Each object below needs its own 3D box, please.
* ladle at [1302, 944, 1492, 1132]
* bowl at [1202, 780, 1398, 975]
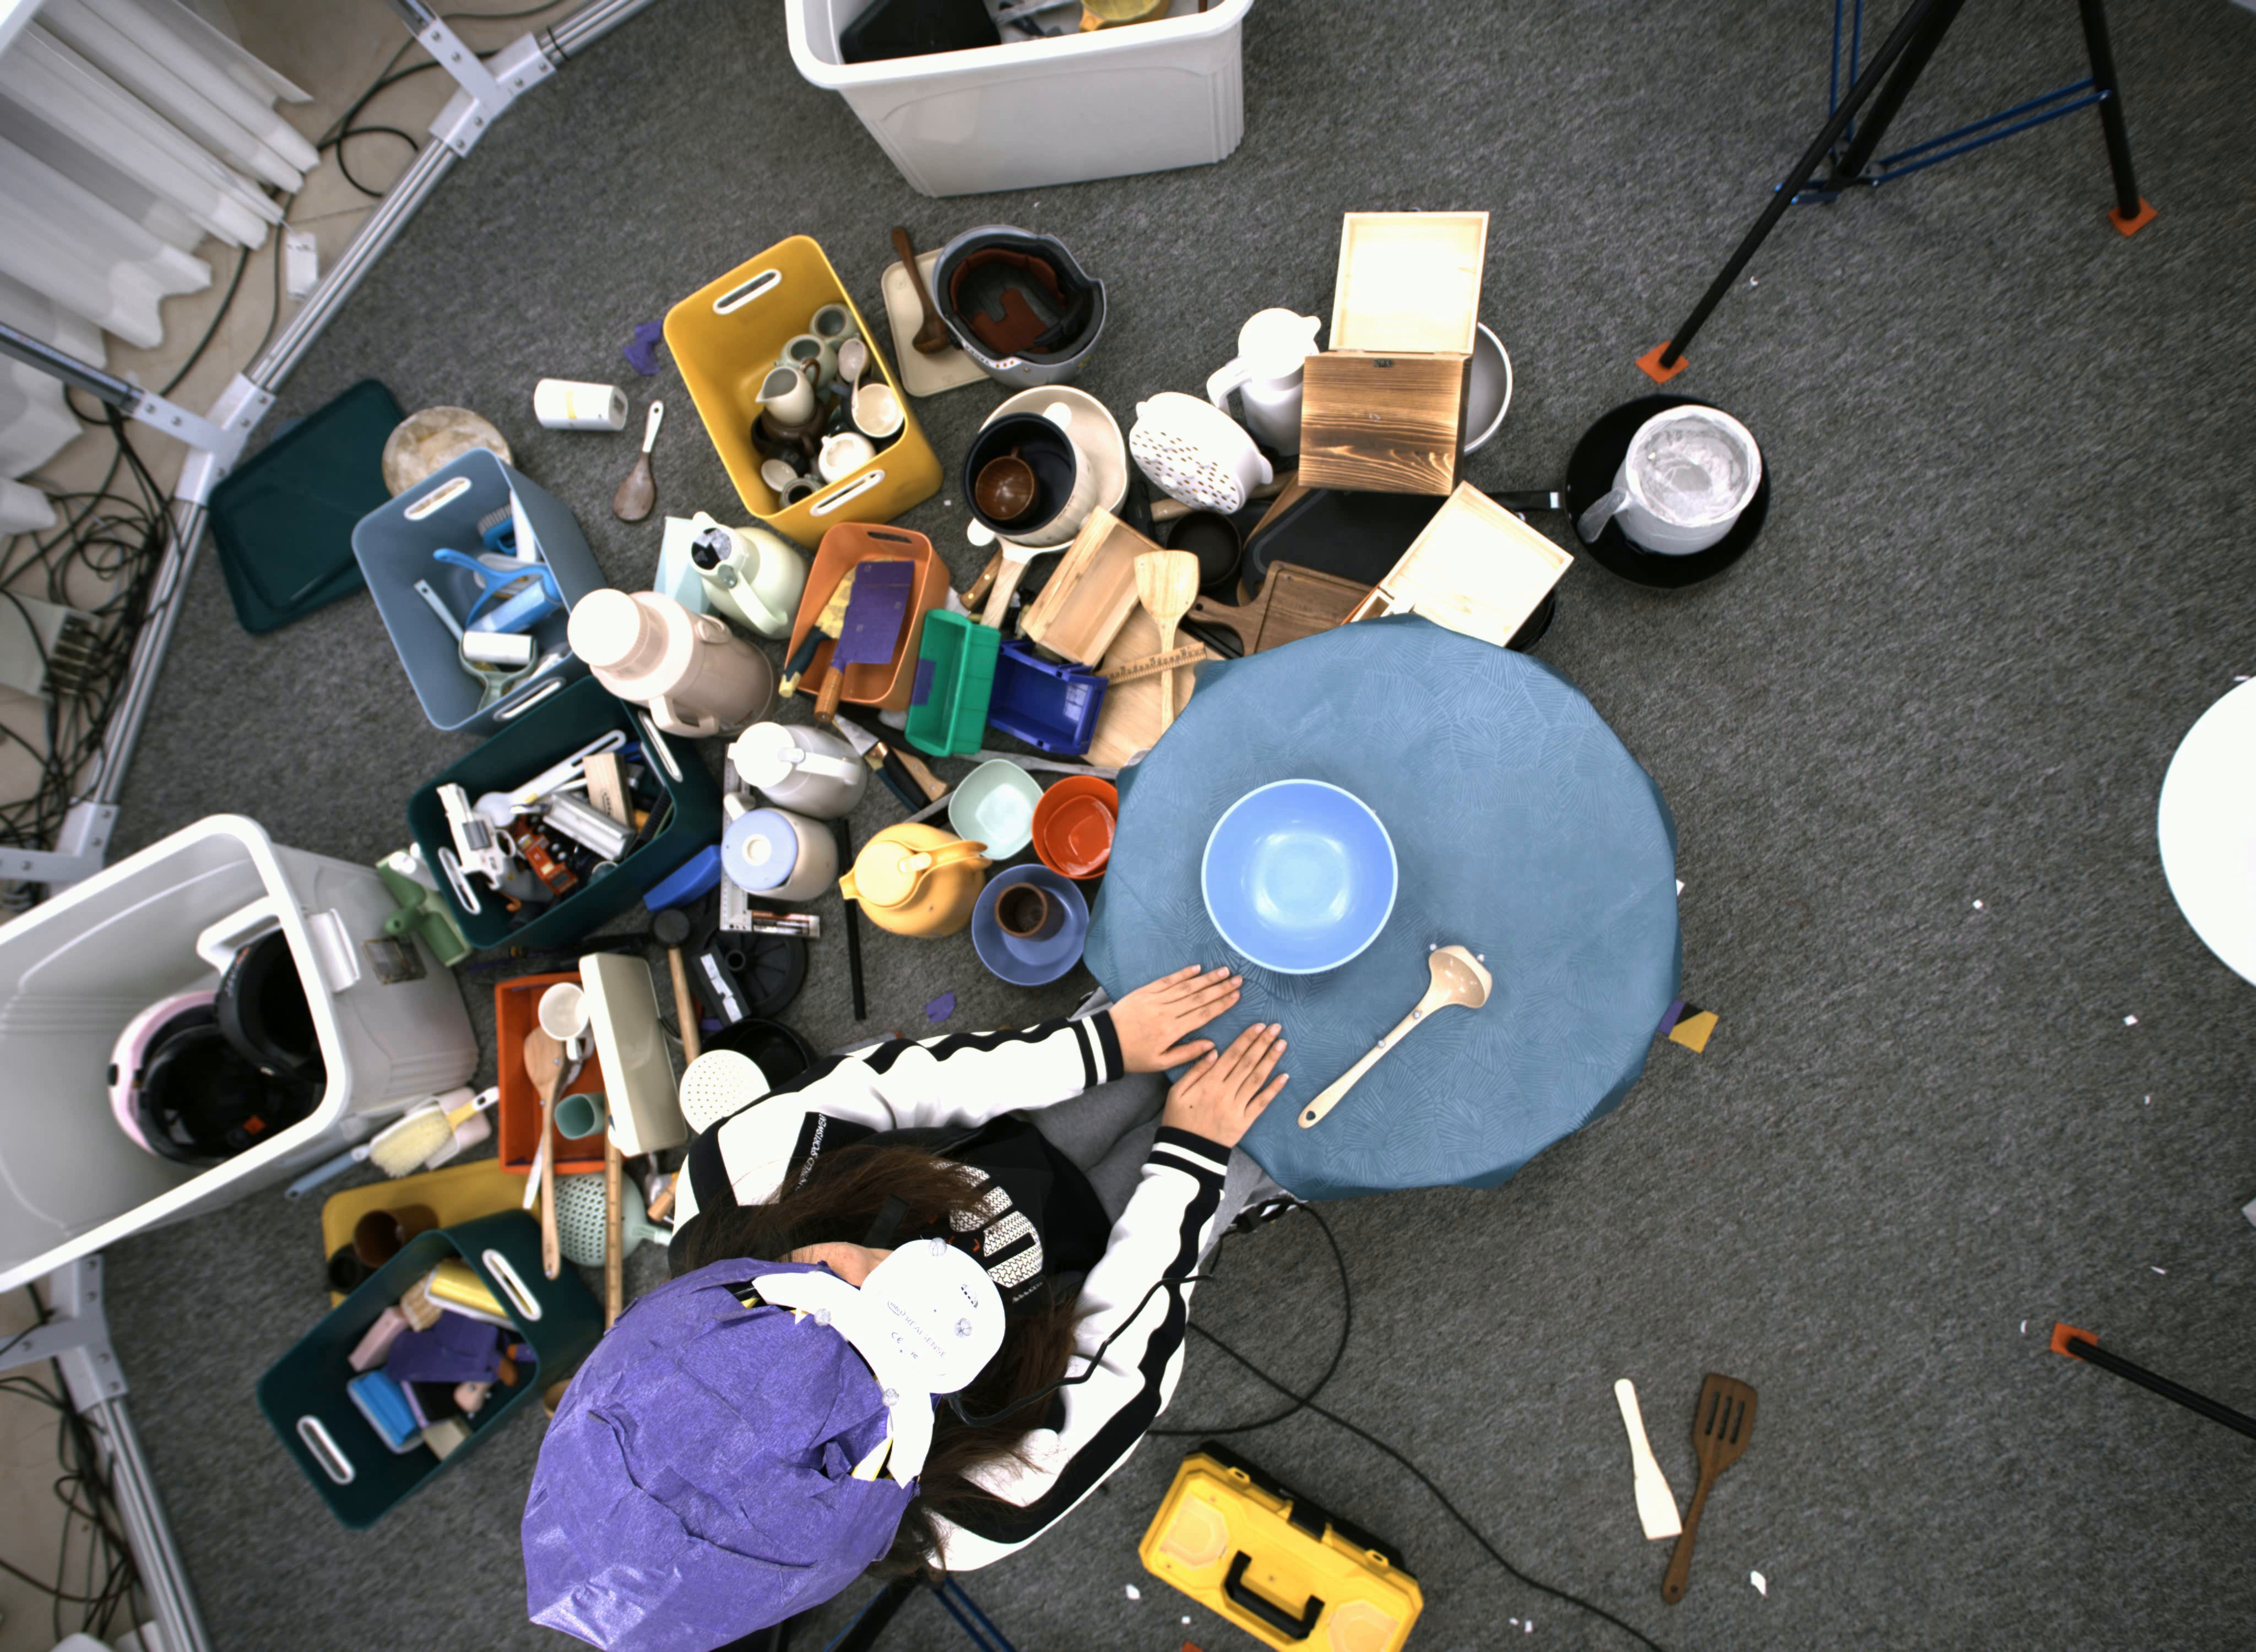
[{"bbox_3d":[0.268,0.223,1.415,0.072,0.073,0.255,45,95,11],"label":"ladle"},{"bbox_3d":[0.179,0.054,1.434,0.197,0.095,0.196,-1,88,10],"label":"bowl"}]
